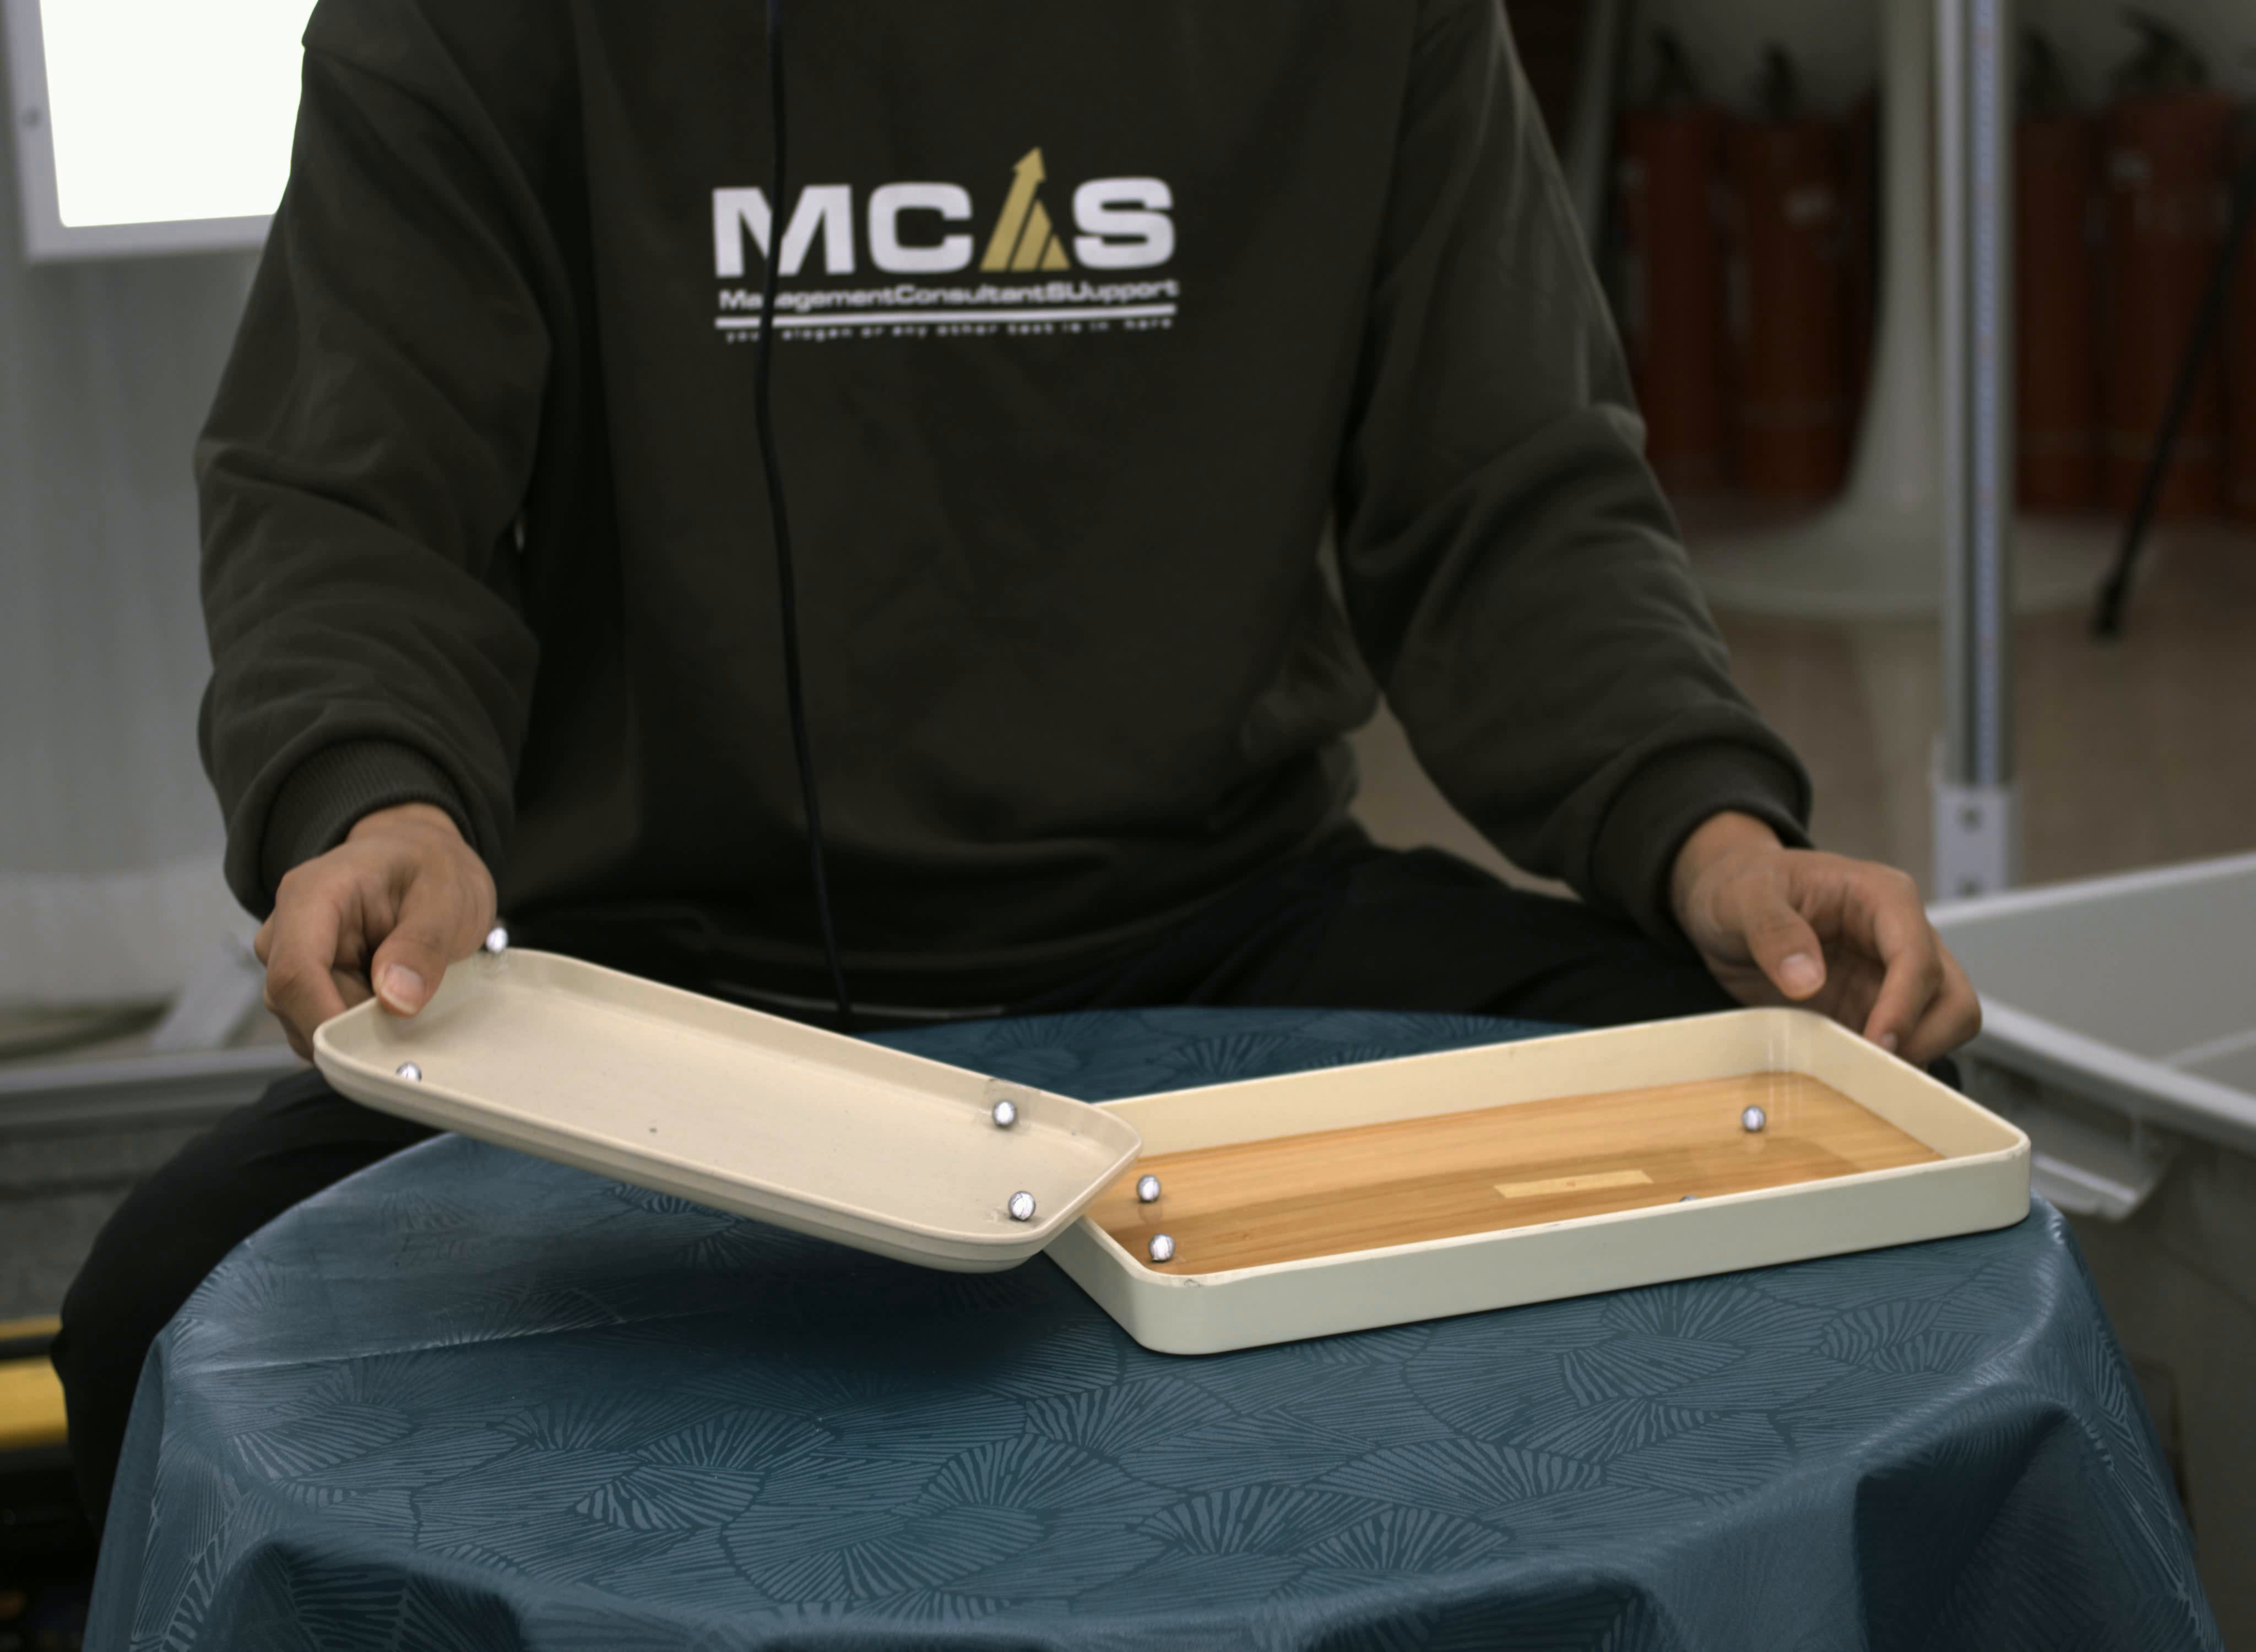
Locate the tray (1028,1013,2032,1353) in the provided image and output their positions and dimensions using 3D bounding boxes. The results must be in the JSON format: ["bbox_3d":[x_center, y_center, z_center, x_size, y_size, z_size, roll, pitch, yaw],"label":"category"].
[{"bbox_3d":[0.120,0.112,1.729,0.294,0.028,0.193,-7,13,-16],"label":"tray"}]

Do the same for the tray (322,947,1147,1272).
[{"bbox_3d":[-0.121,0.087,1.680,0.239,0.018,0.170,15,13,14],"label":"tray"}]
